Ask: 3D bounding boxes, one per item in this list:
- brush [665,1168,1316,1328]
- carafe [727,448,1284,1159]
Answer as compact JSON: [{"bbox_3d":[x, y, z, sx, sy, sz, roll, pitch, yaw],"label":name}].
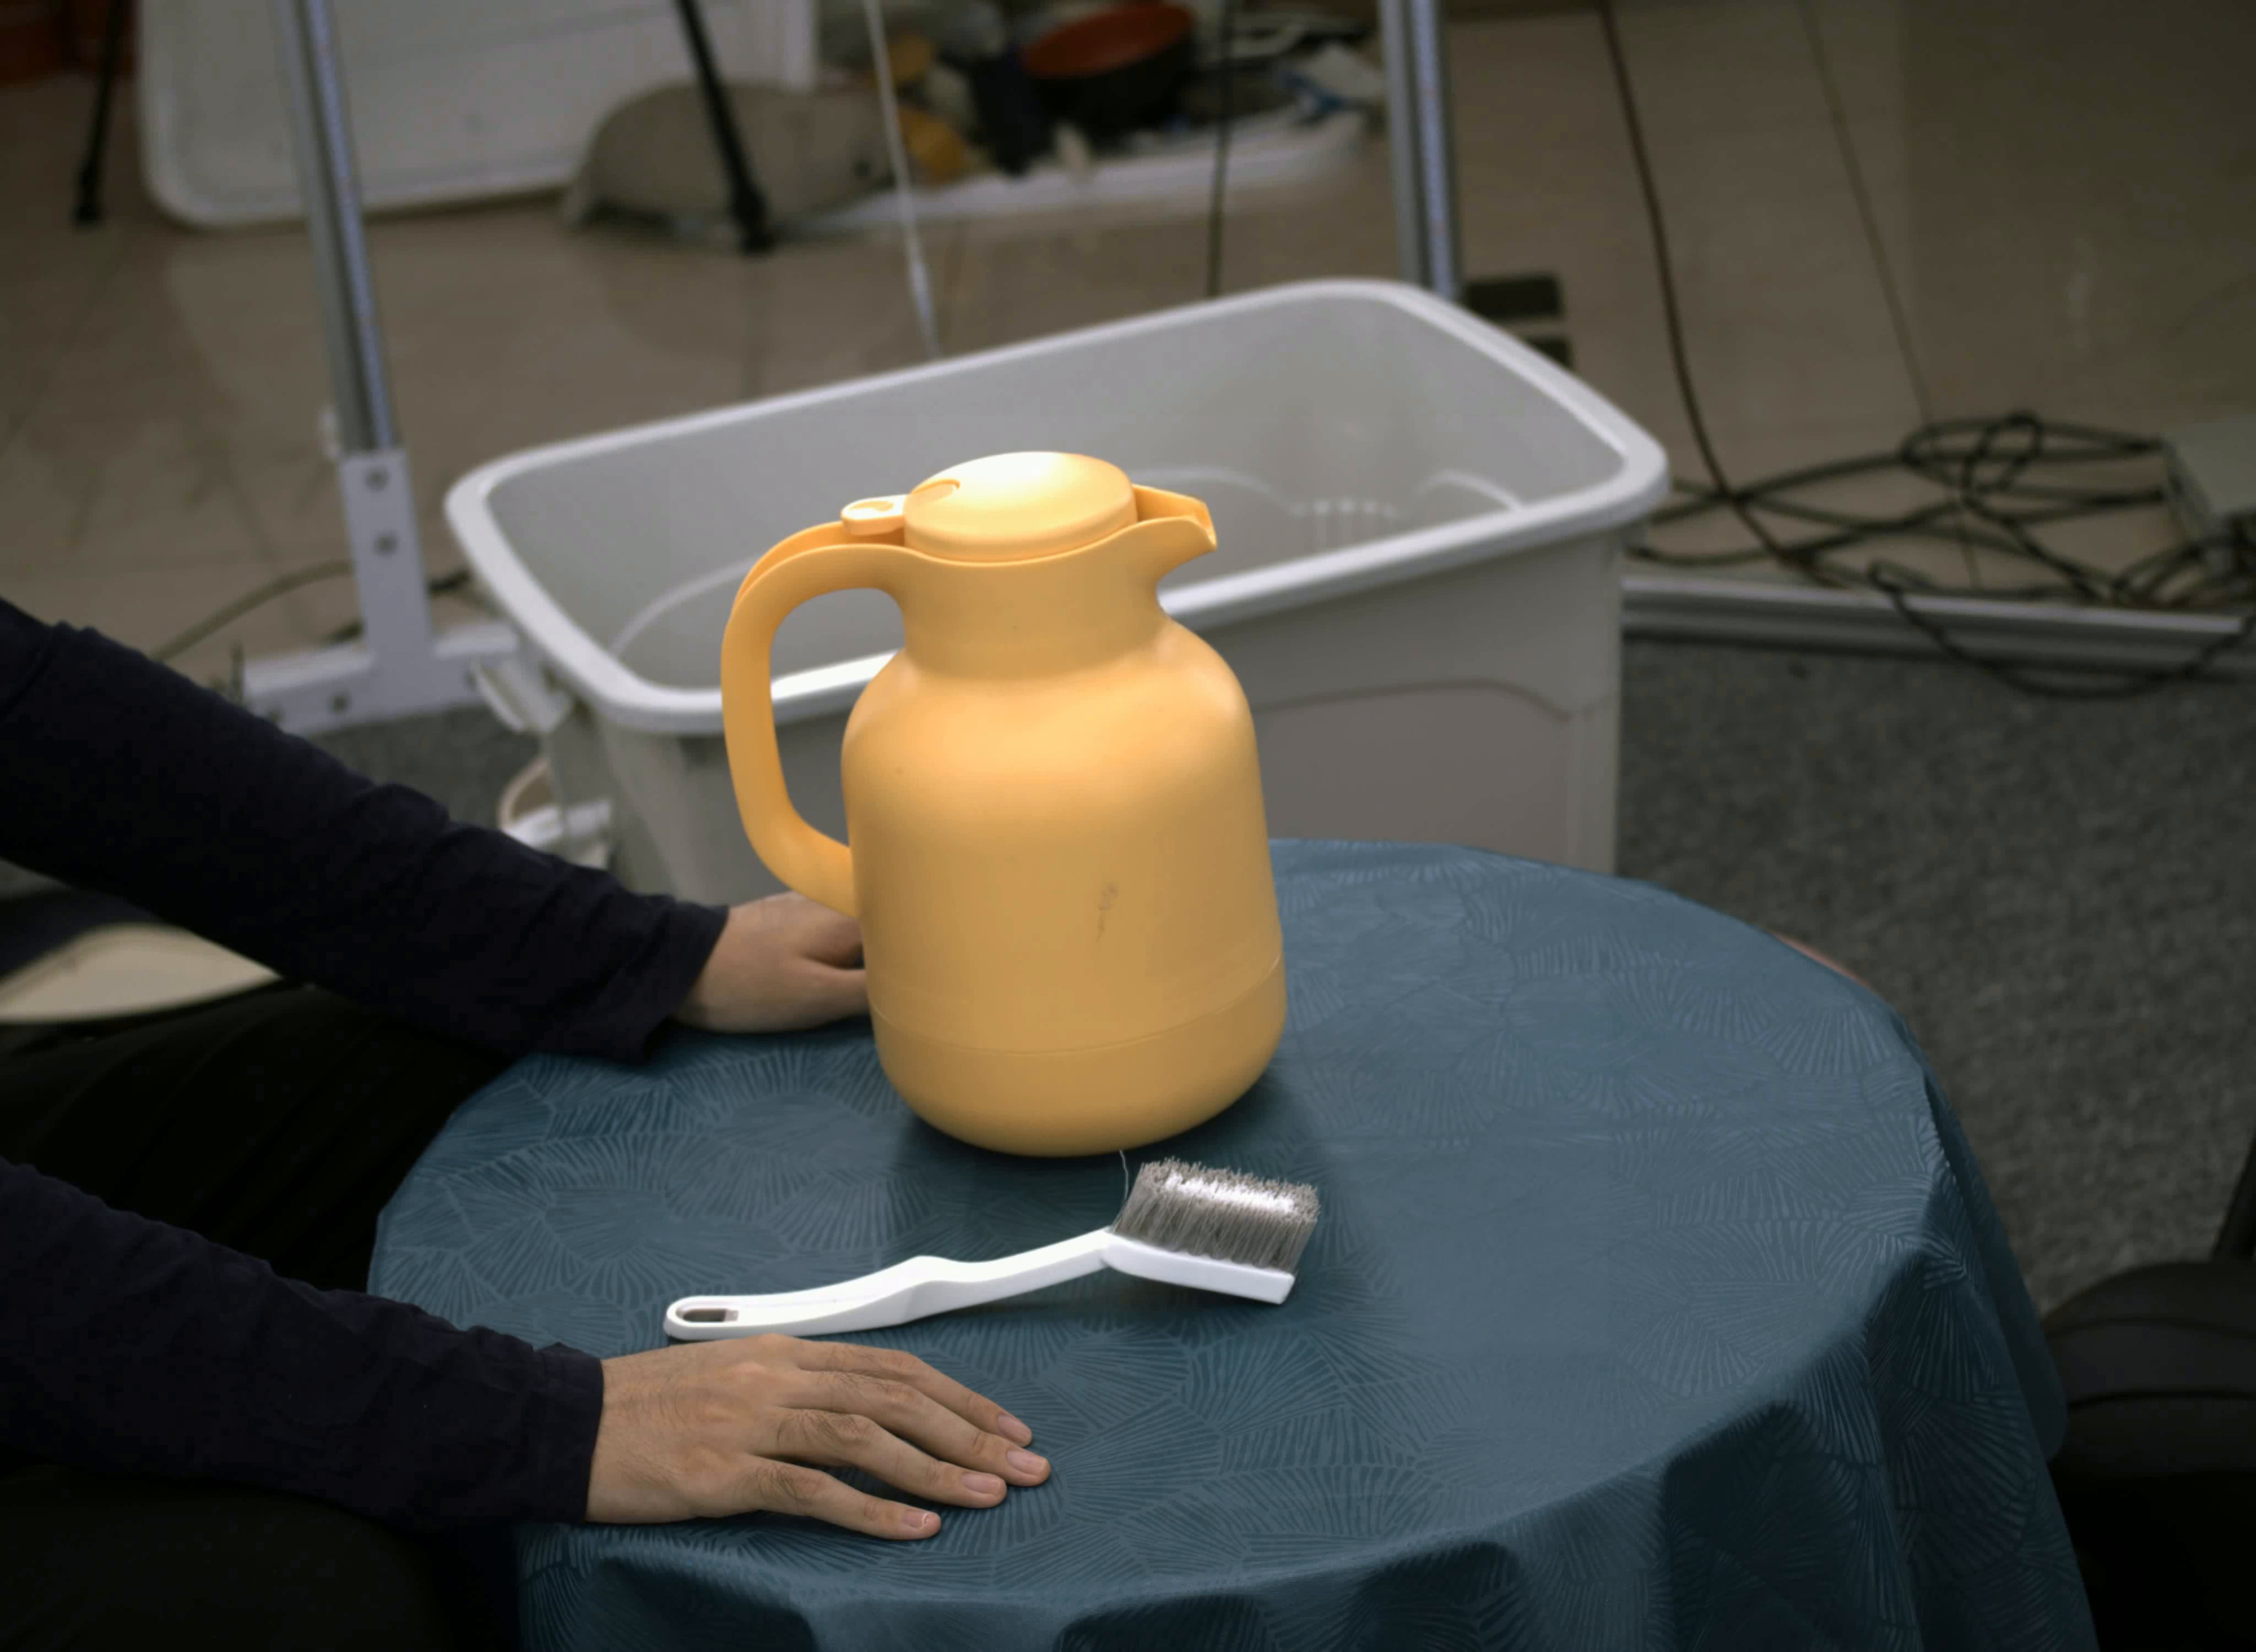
[{"bbox_3d":[-0.052,0.154,2.070,0.243,0.051,0.034,-3,30,7],"label":"brush"},{"bbox_3d":[-0.047,-0.012,2.171,0.202,0.264,0.161,-3,23,6],"label":"carafe"}]
